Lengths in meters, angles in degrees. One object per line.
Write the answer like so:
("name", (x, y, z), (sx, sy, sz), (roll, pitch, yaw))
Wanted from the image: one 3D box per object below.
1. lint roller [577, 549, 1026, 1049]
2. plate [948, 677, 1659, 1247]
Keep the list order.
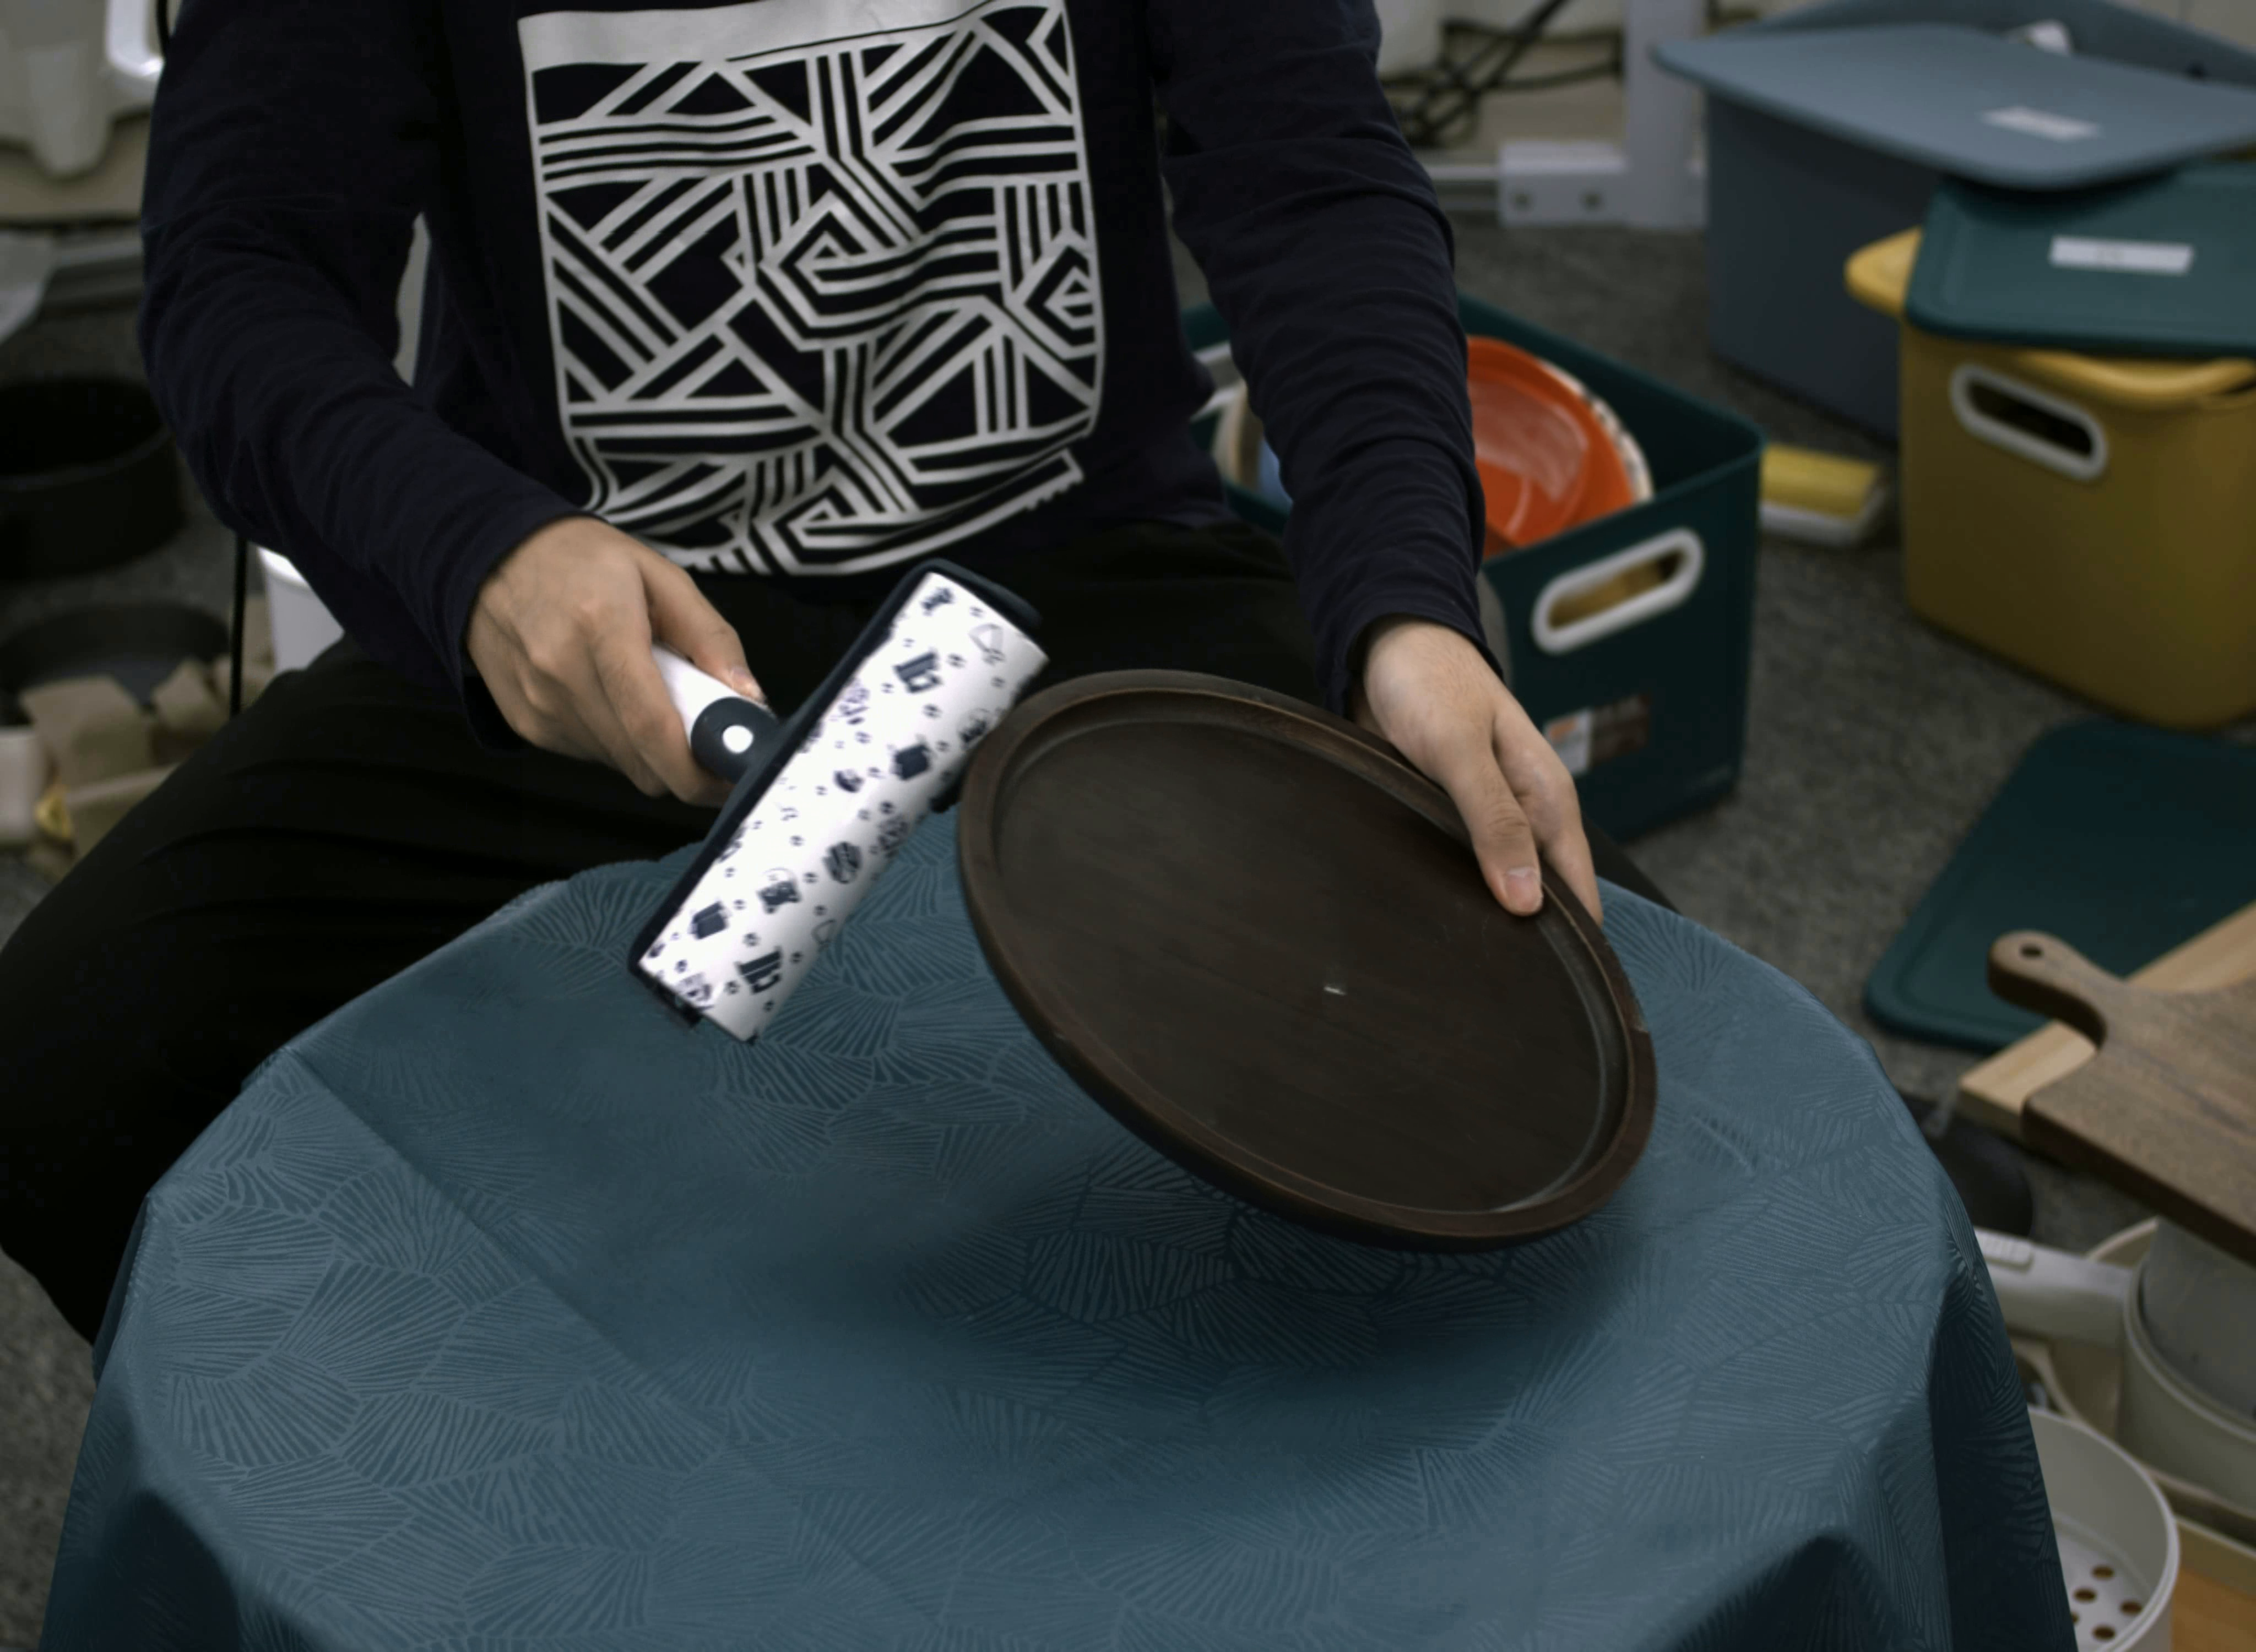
("lint roller", (-0.141, -0.032, 1.896), (0.177, 0.050, 0.247), (-55, 31, -5))
("plate", (0.056, 0.043, 1.820), (0.254, 0.028, 0.259), (22, 33, -14))
